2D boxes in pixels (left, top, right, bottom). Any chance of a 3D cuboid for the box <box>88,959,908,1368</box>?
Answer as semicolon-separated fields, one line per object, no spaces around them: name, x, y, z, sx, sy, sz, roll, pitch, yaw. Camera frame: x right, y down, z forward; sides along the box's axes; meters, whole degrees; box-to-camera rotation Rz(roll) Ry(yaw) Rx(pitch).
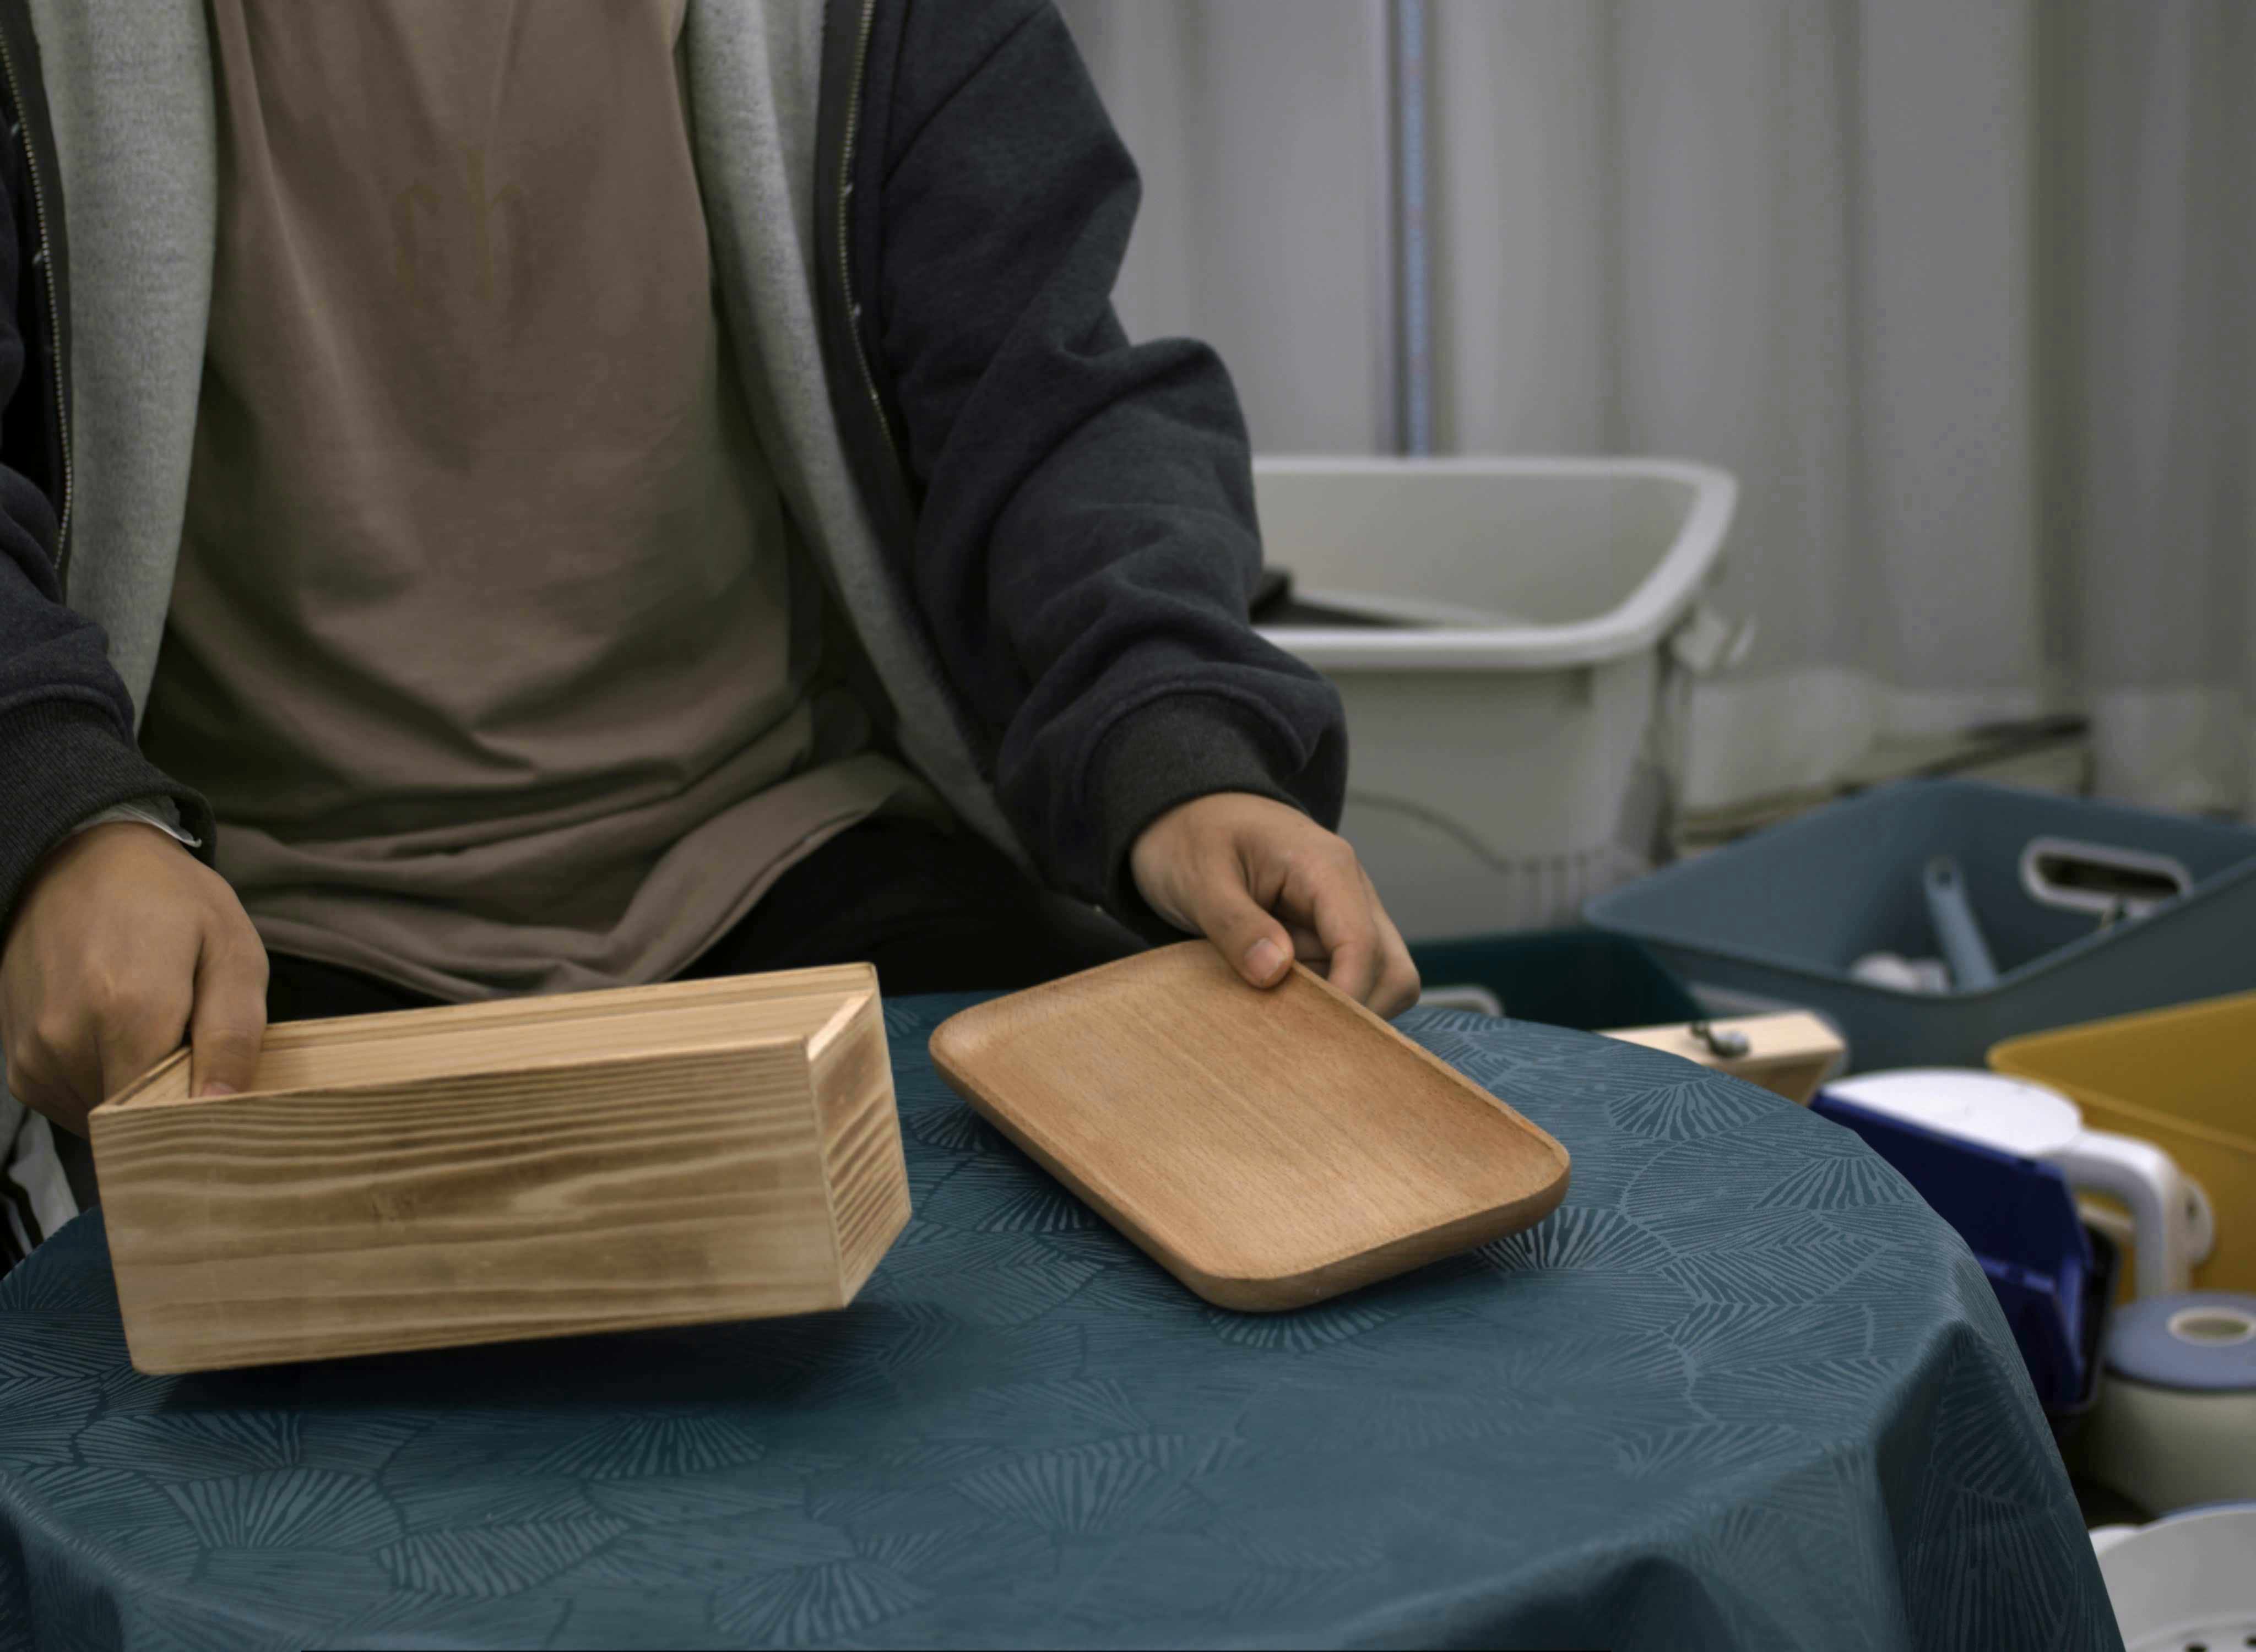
box;-0.181;0.097;1.593;0.211;0.080;0.108;-6;9;10

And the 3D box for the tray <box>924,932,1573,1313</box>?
tray;0.034;0.090;1.714;0.130;0.023;0.253;-14;21;-20
